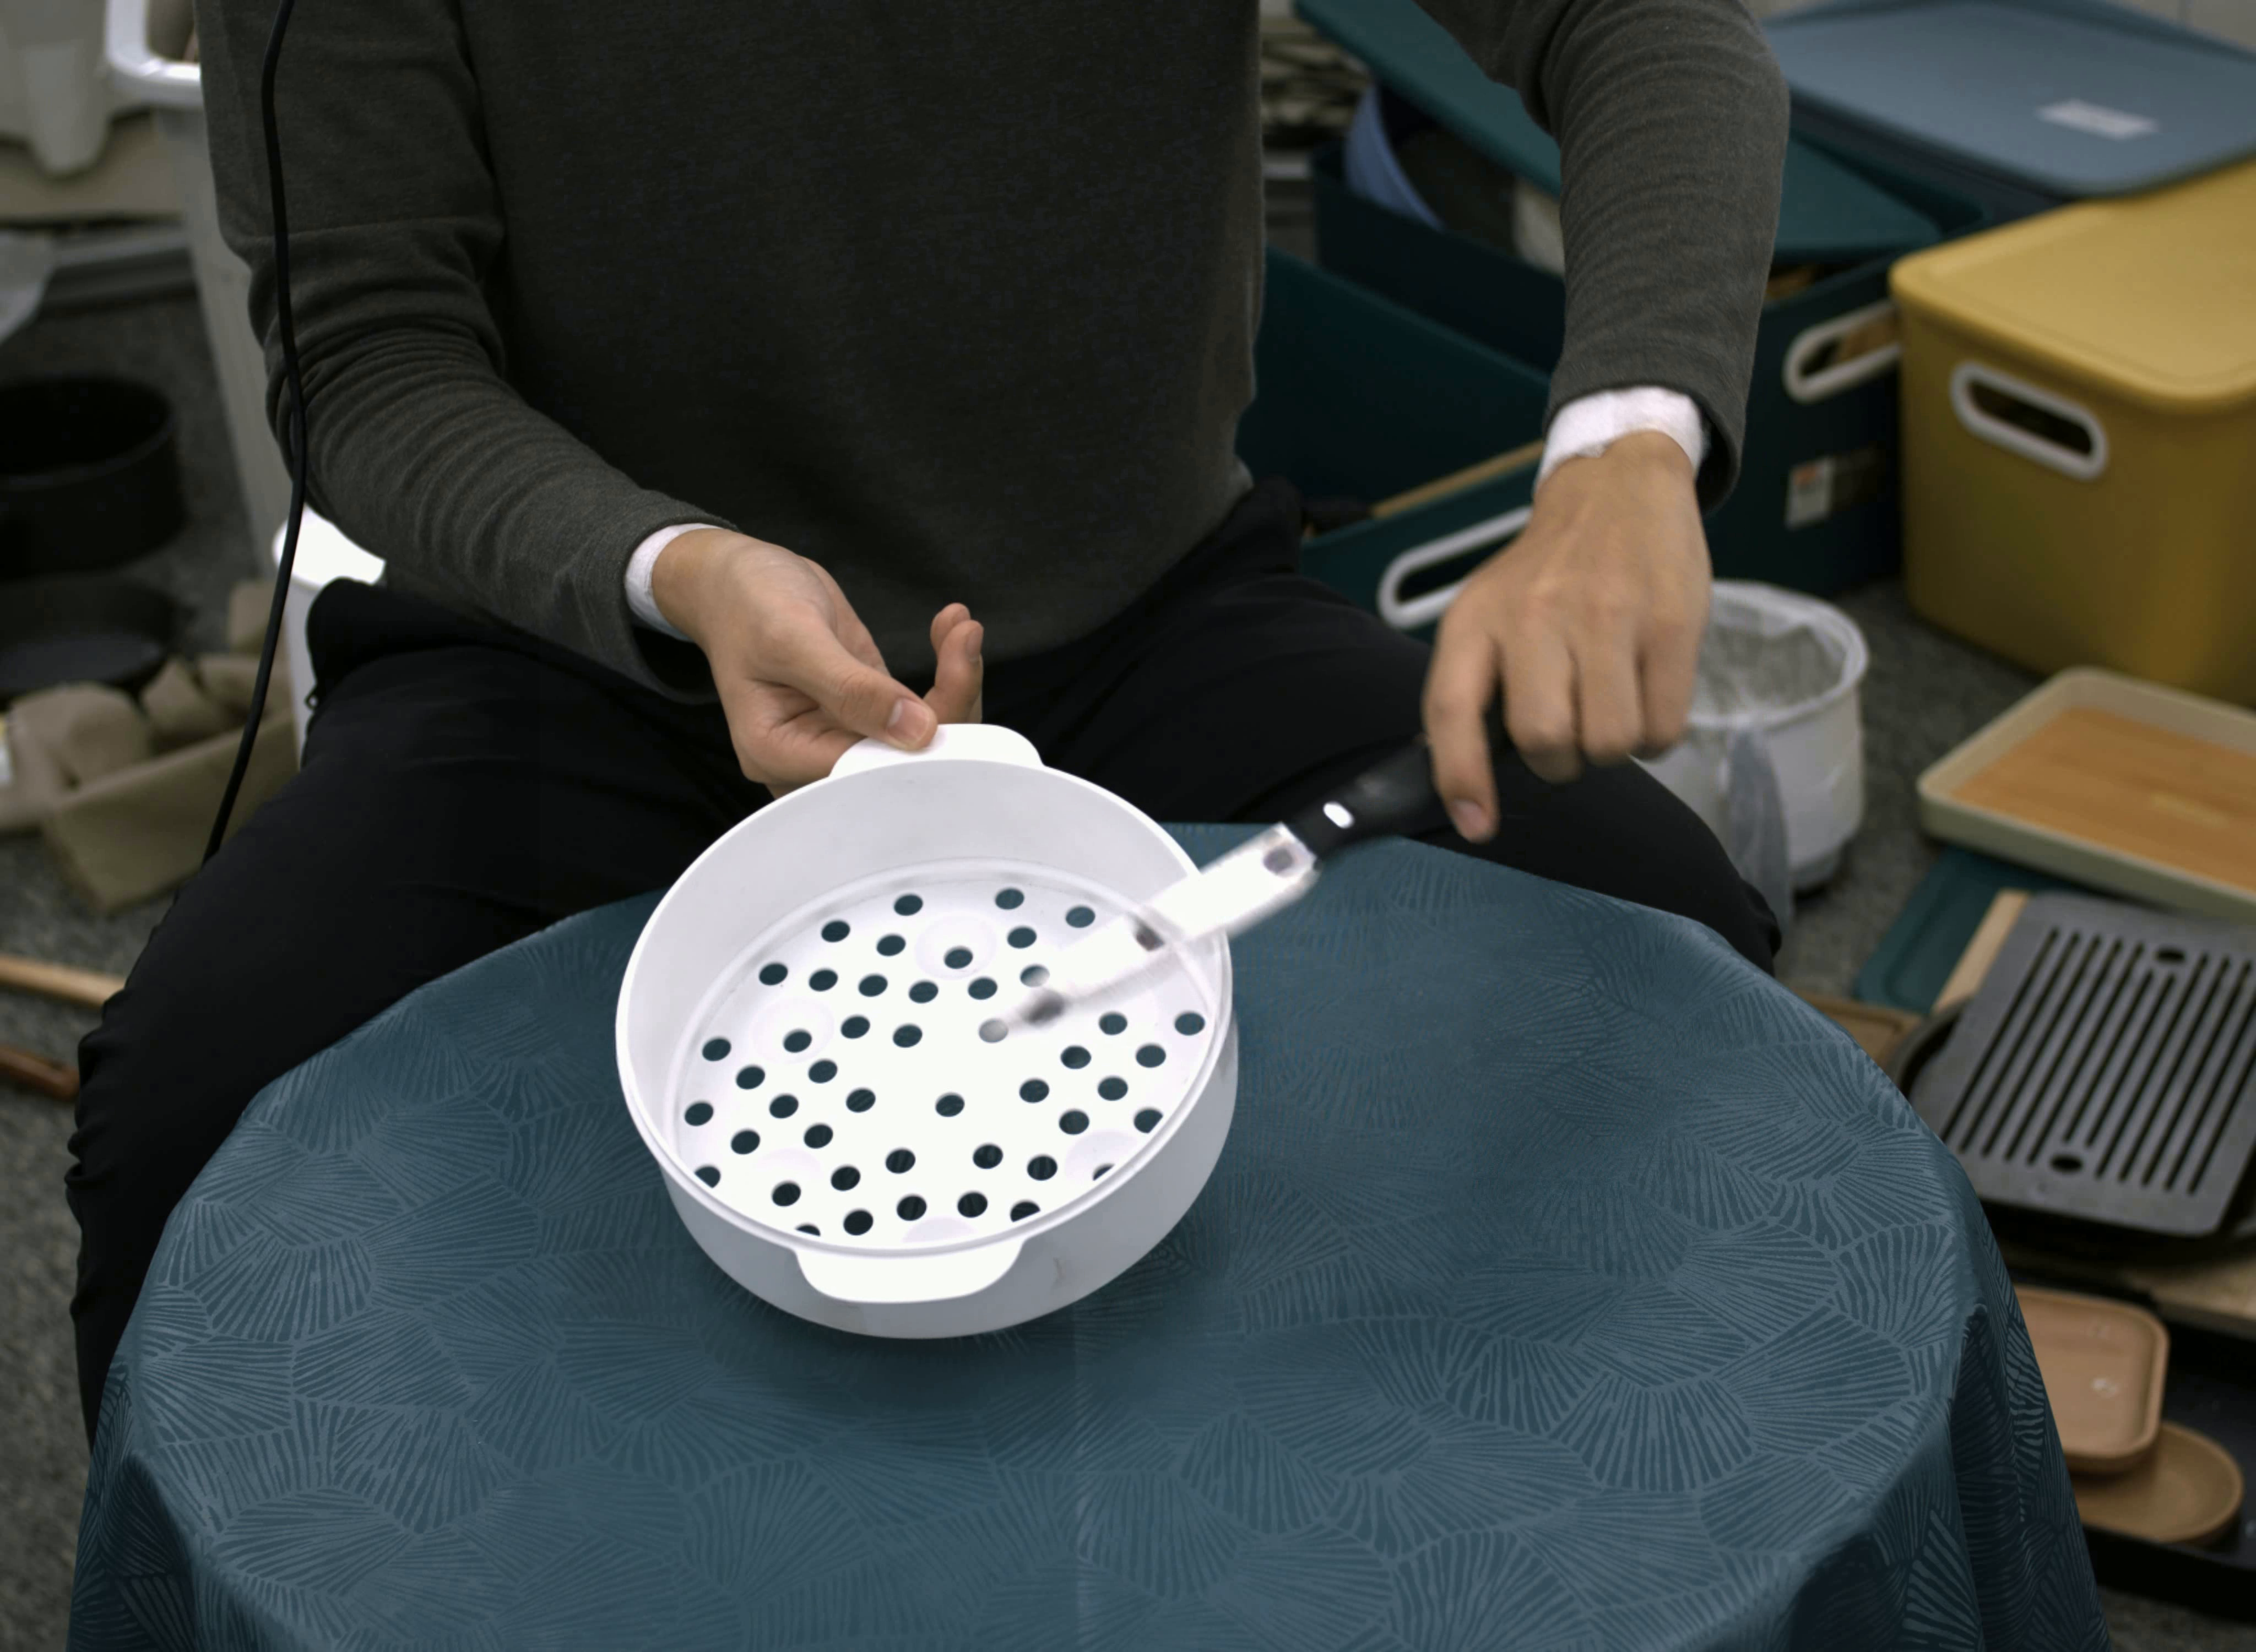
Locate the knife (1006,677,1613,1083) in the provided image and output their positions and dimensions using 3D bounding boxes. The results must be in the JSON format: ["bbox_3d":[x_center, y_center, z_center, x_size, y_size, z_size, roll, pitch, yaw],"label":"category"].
[{"bbox_3d":[0.056,0.016,1.775,0.240,0.016,0.024,-33,61,-20],"label":"knife"}]

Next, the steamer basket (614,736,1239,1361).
[{"bbox_3d":[-0.062,0.077,1.820,0.200,0.068,0.235,-3,50,6],"label":"steamer basket"}]
